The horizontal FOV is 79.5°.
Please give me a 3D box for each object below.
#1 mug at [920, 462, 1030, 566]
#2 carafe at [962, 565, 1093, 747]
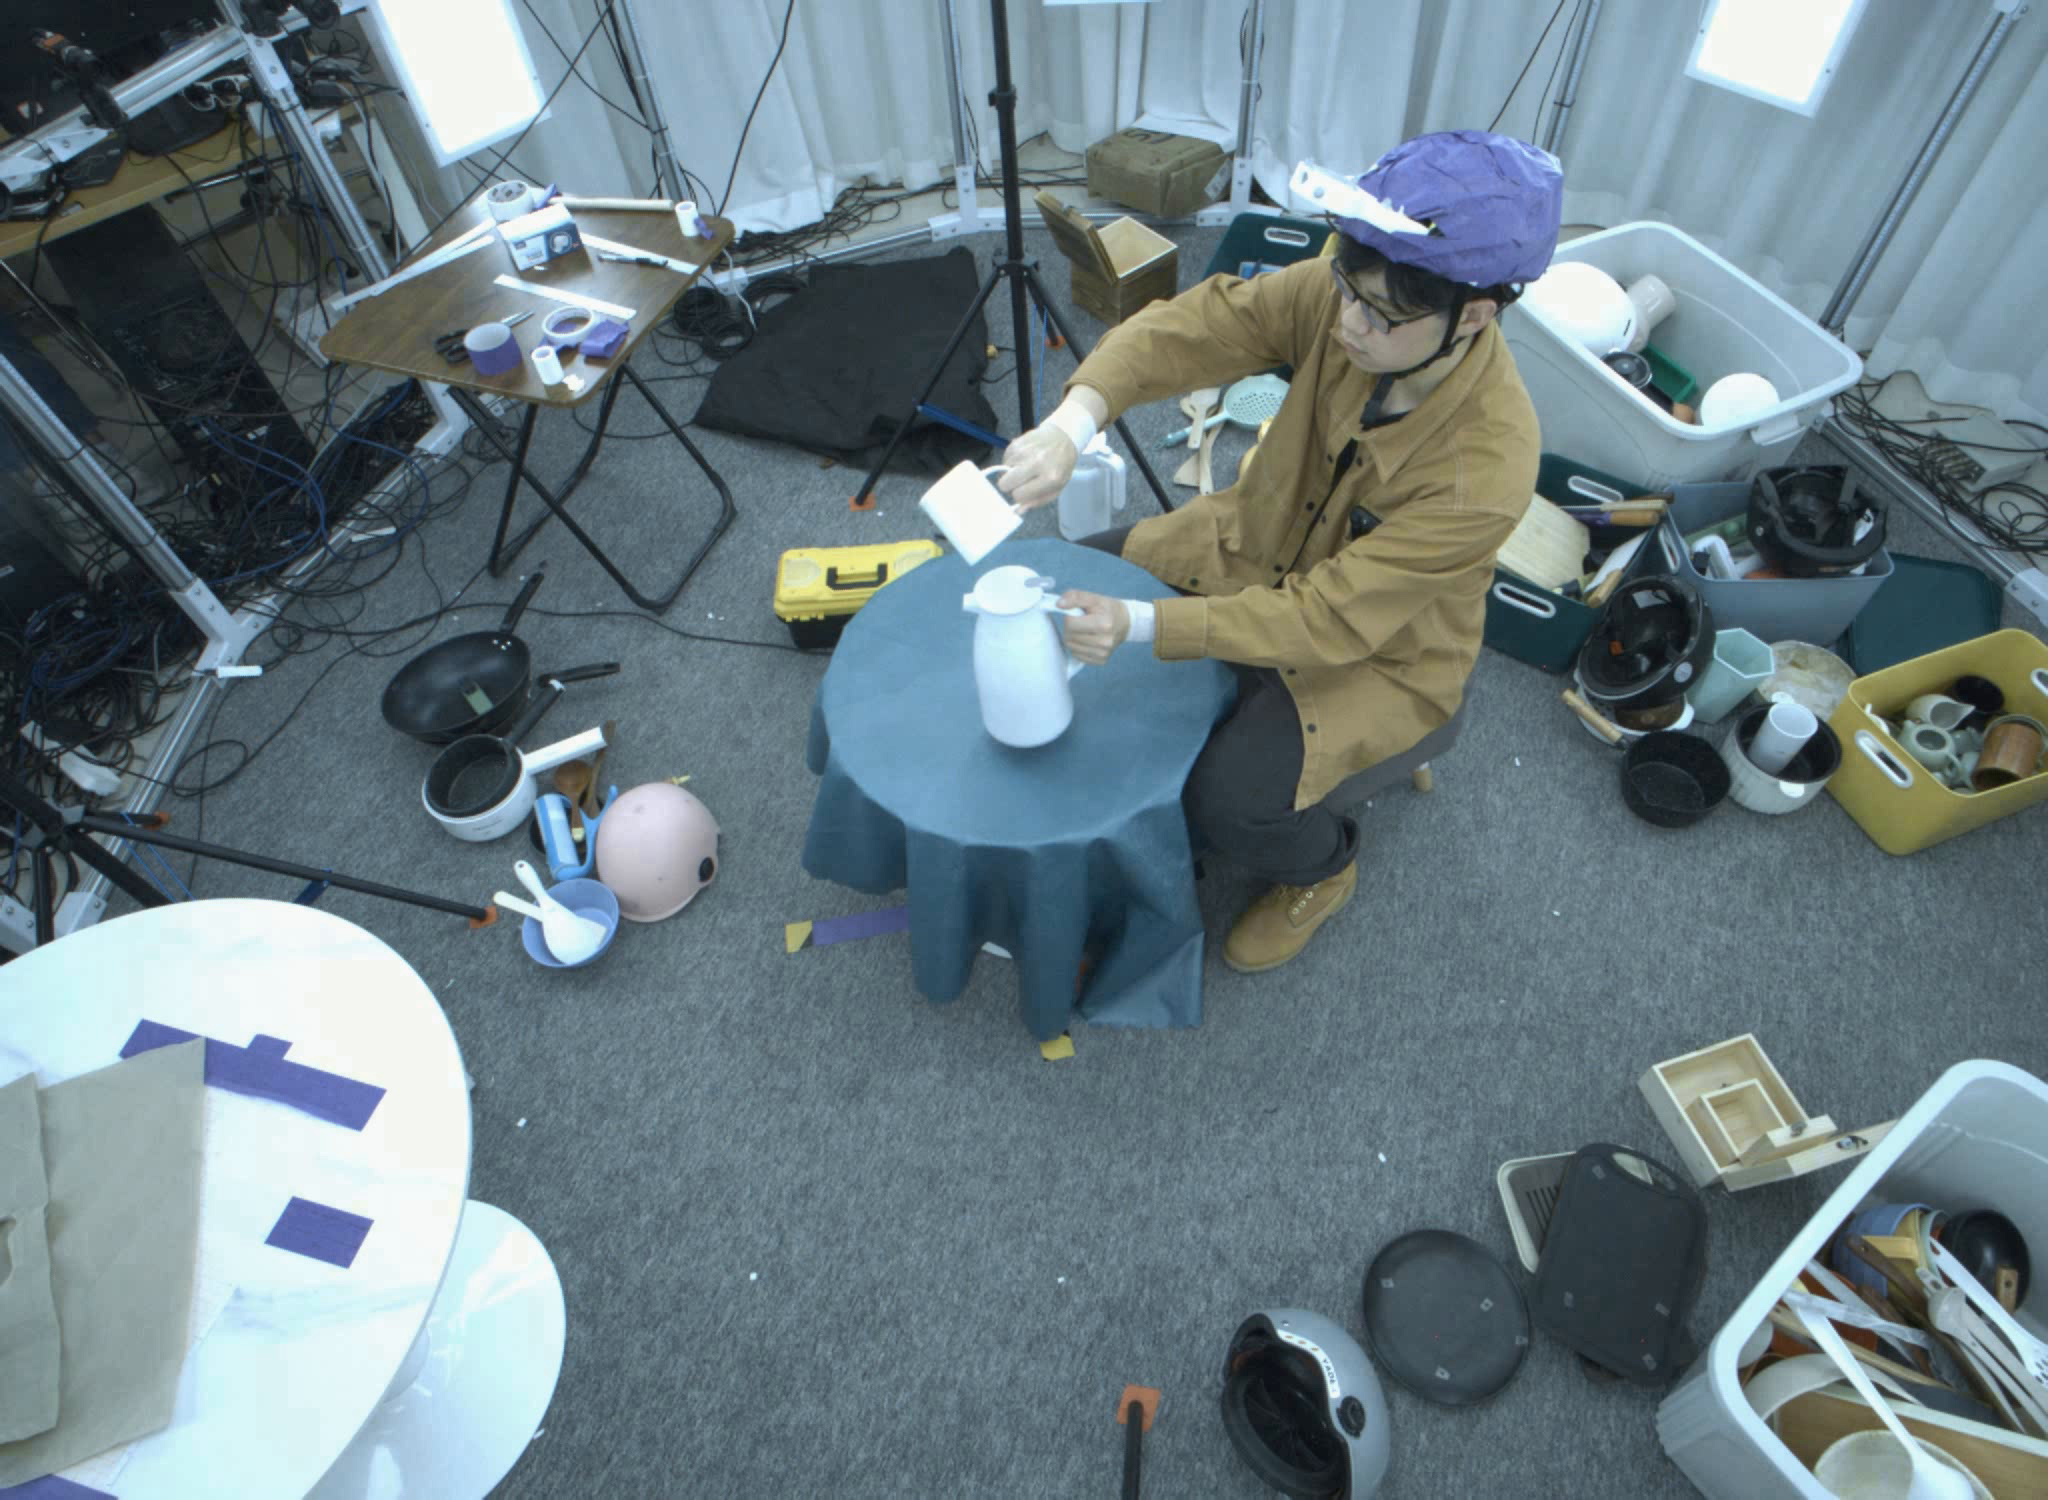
[{"bbox_3d":[-0.055,-0.302,1.497,0.118,0.084,0.102,-41,99,3],"label":"mug"},{"bbox_3d":[0.011,-0.136,1.672,0.167,0.252,0.131,-4,49,3],"label":"carafe"}]
